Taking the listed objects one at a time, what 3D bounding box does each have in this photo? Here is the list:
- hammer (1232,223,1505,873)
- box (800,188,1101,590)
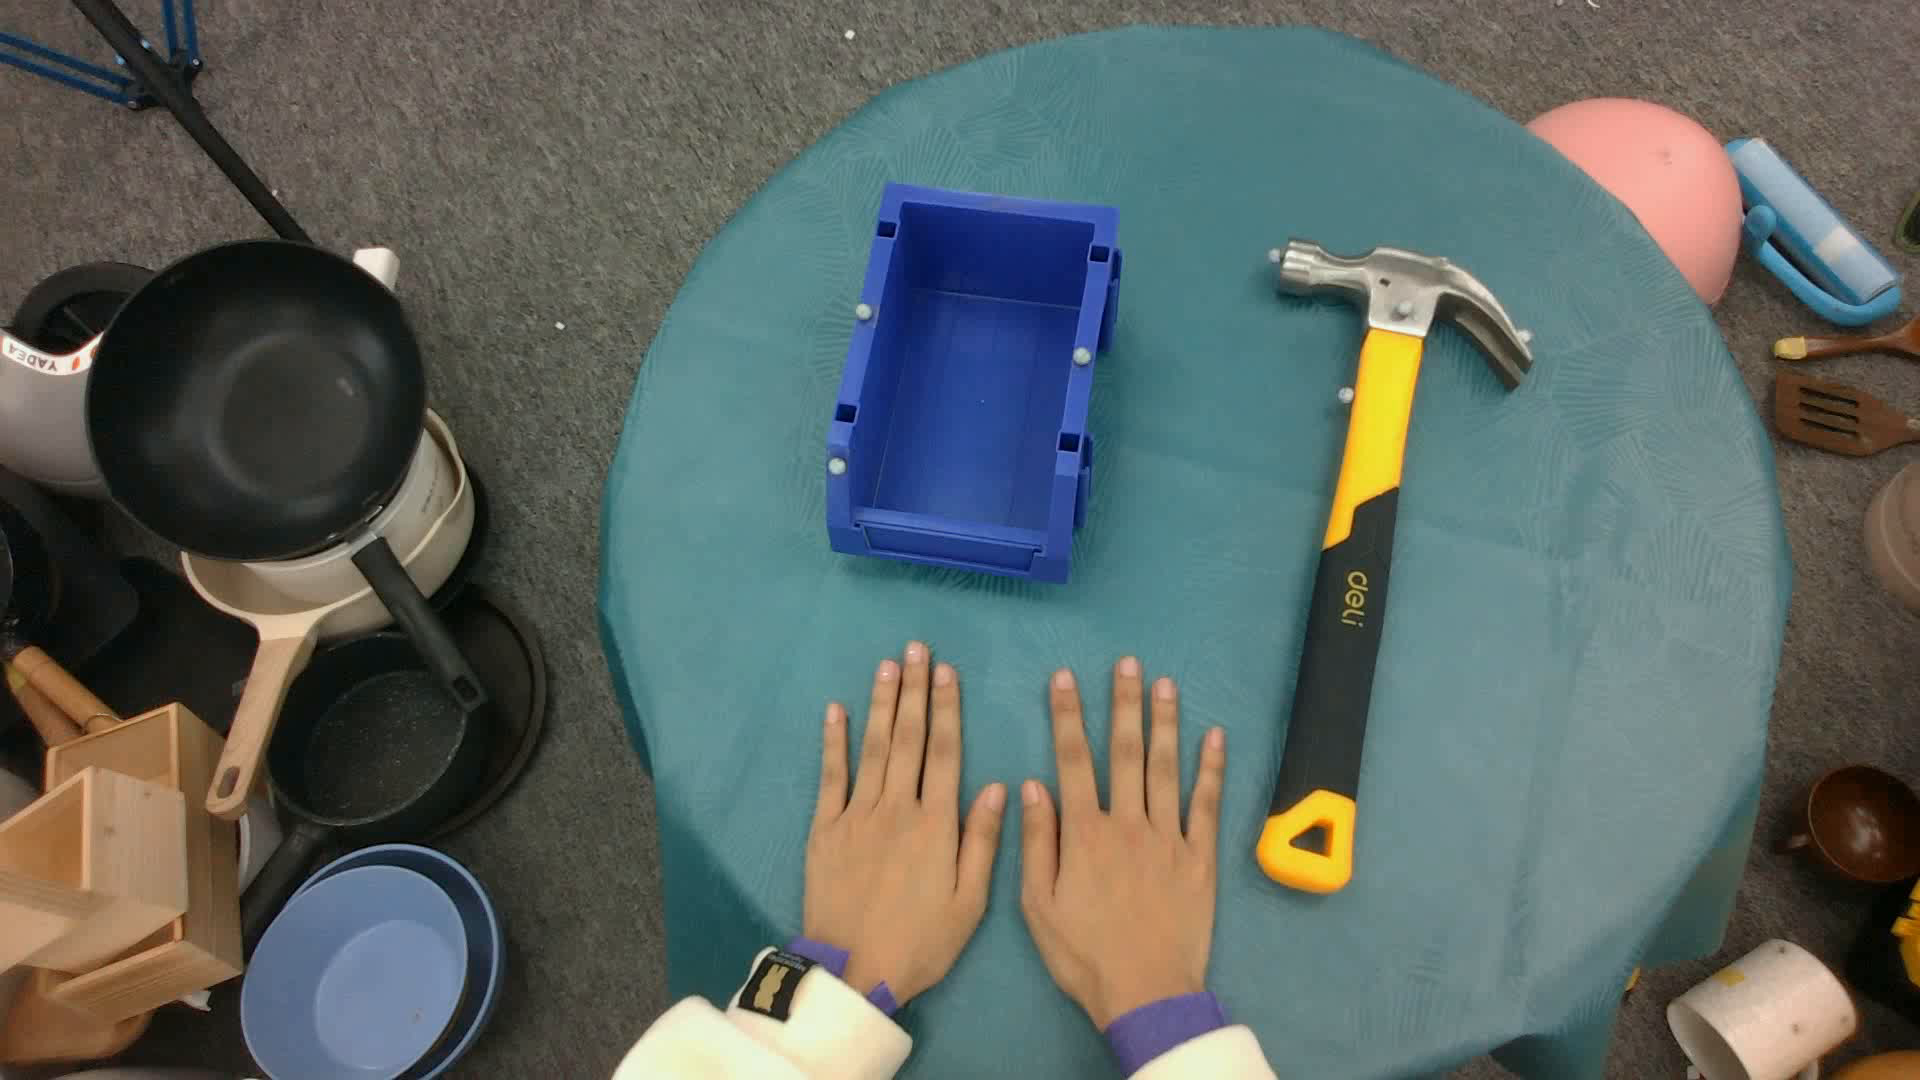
[{"bbox_3d":[0.185,-0.005,0.680,0.131,0.032,0.339,14,68,6],"label":"hammer"},{"bbox_3d":[-0.002,-0.073,0.691,0.124,0.081,0.180,9,66,6],"label":"box"}]
